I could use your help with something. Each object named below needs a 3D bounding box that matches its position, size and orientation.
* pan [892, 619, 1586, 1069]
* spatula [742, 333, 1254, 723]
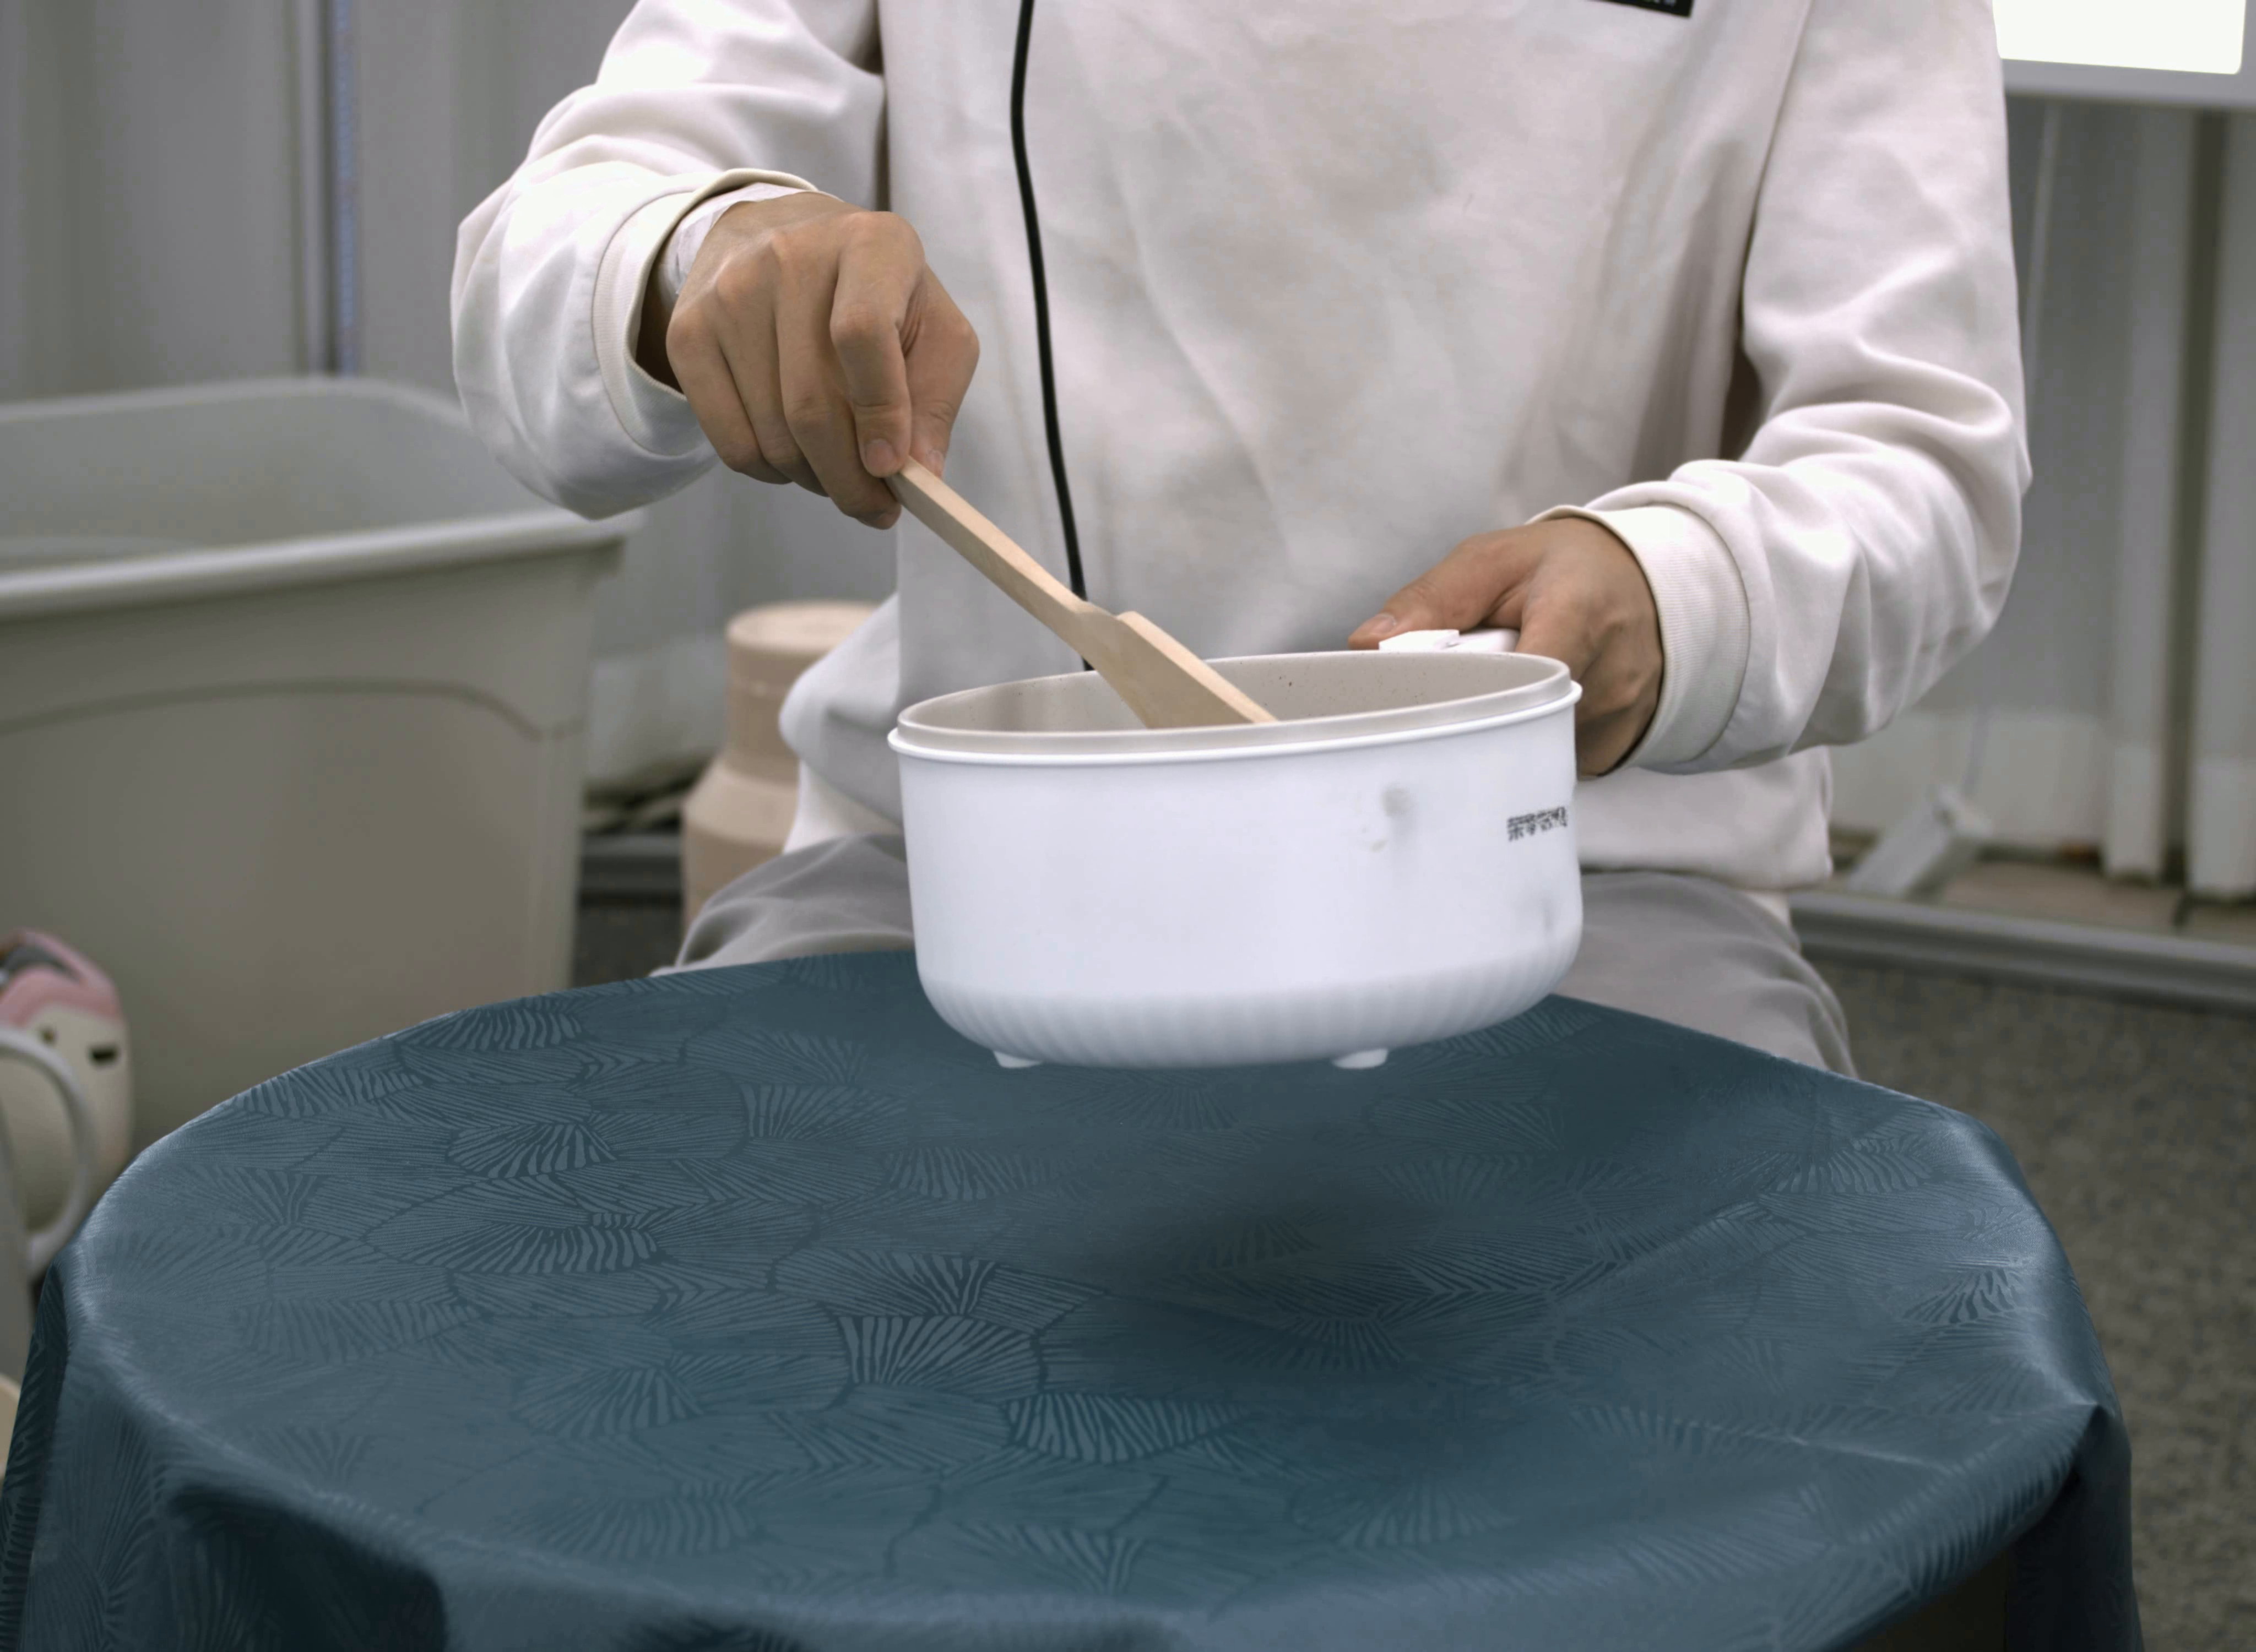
[{"bbox_3d":[0.064,0.001,1.596,0.199,0.102,0.356,-2,7,23],"label":"pan"},{"bbox_3d":[-0.031,-0.076,1.588,0.010,0.073,0.289,-41,53,-13],"label":"spatula"}]
